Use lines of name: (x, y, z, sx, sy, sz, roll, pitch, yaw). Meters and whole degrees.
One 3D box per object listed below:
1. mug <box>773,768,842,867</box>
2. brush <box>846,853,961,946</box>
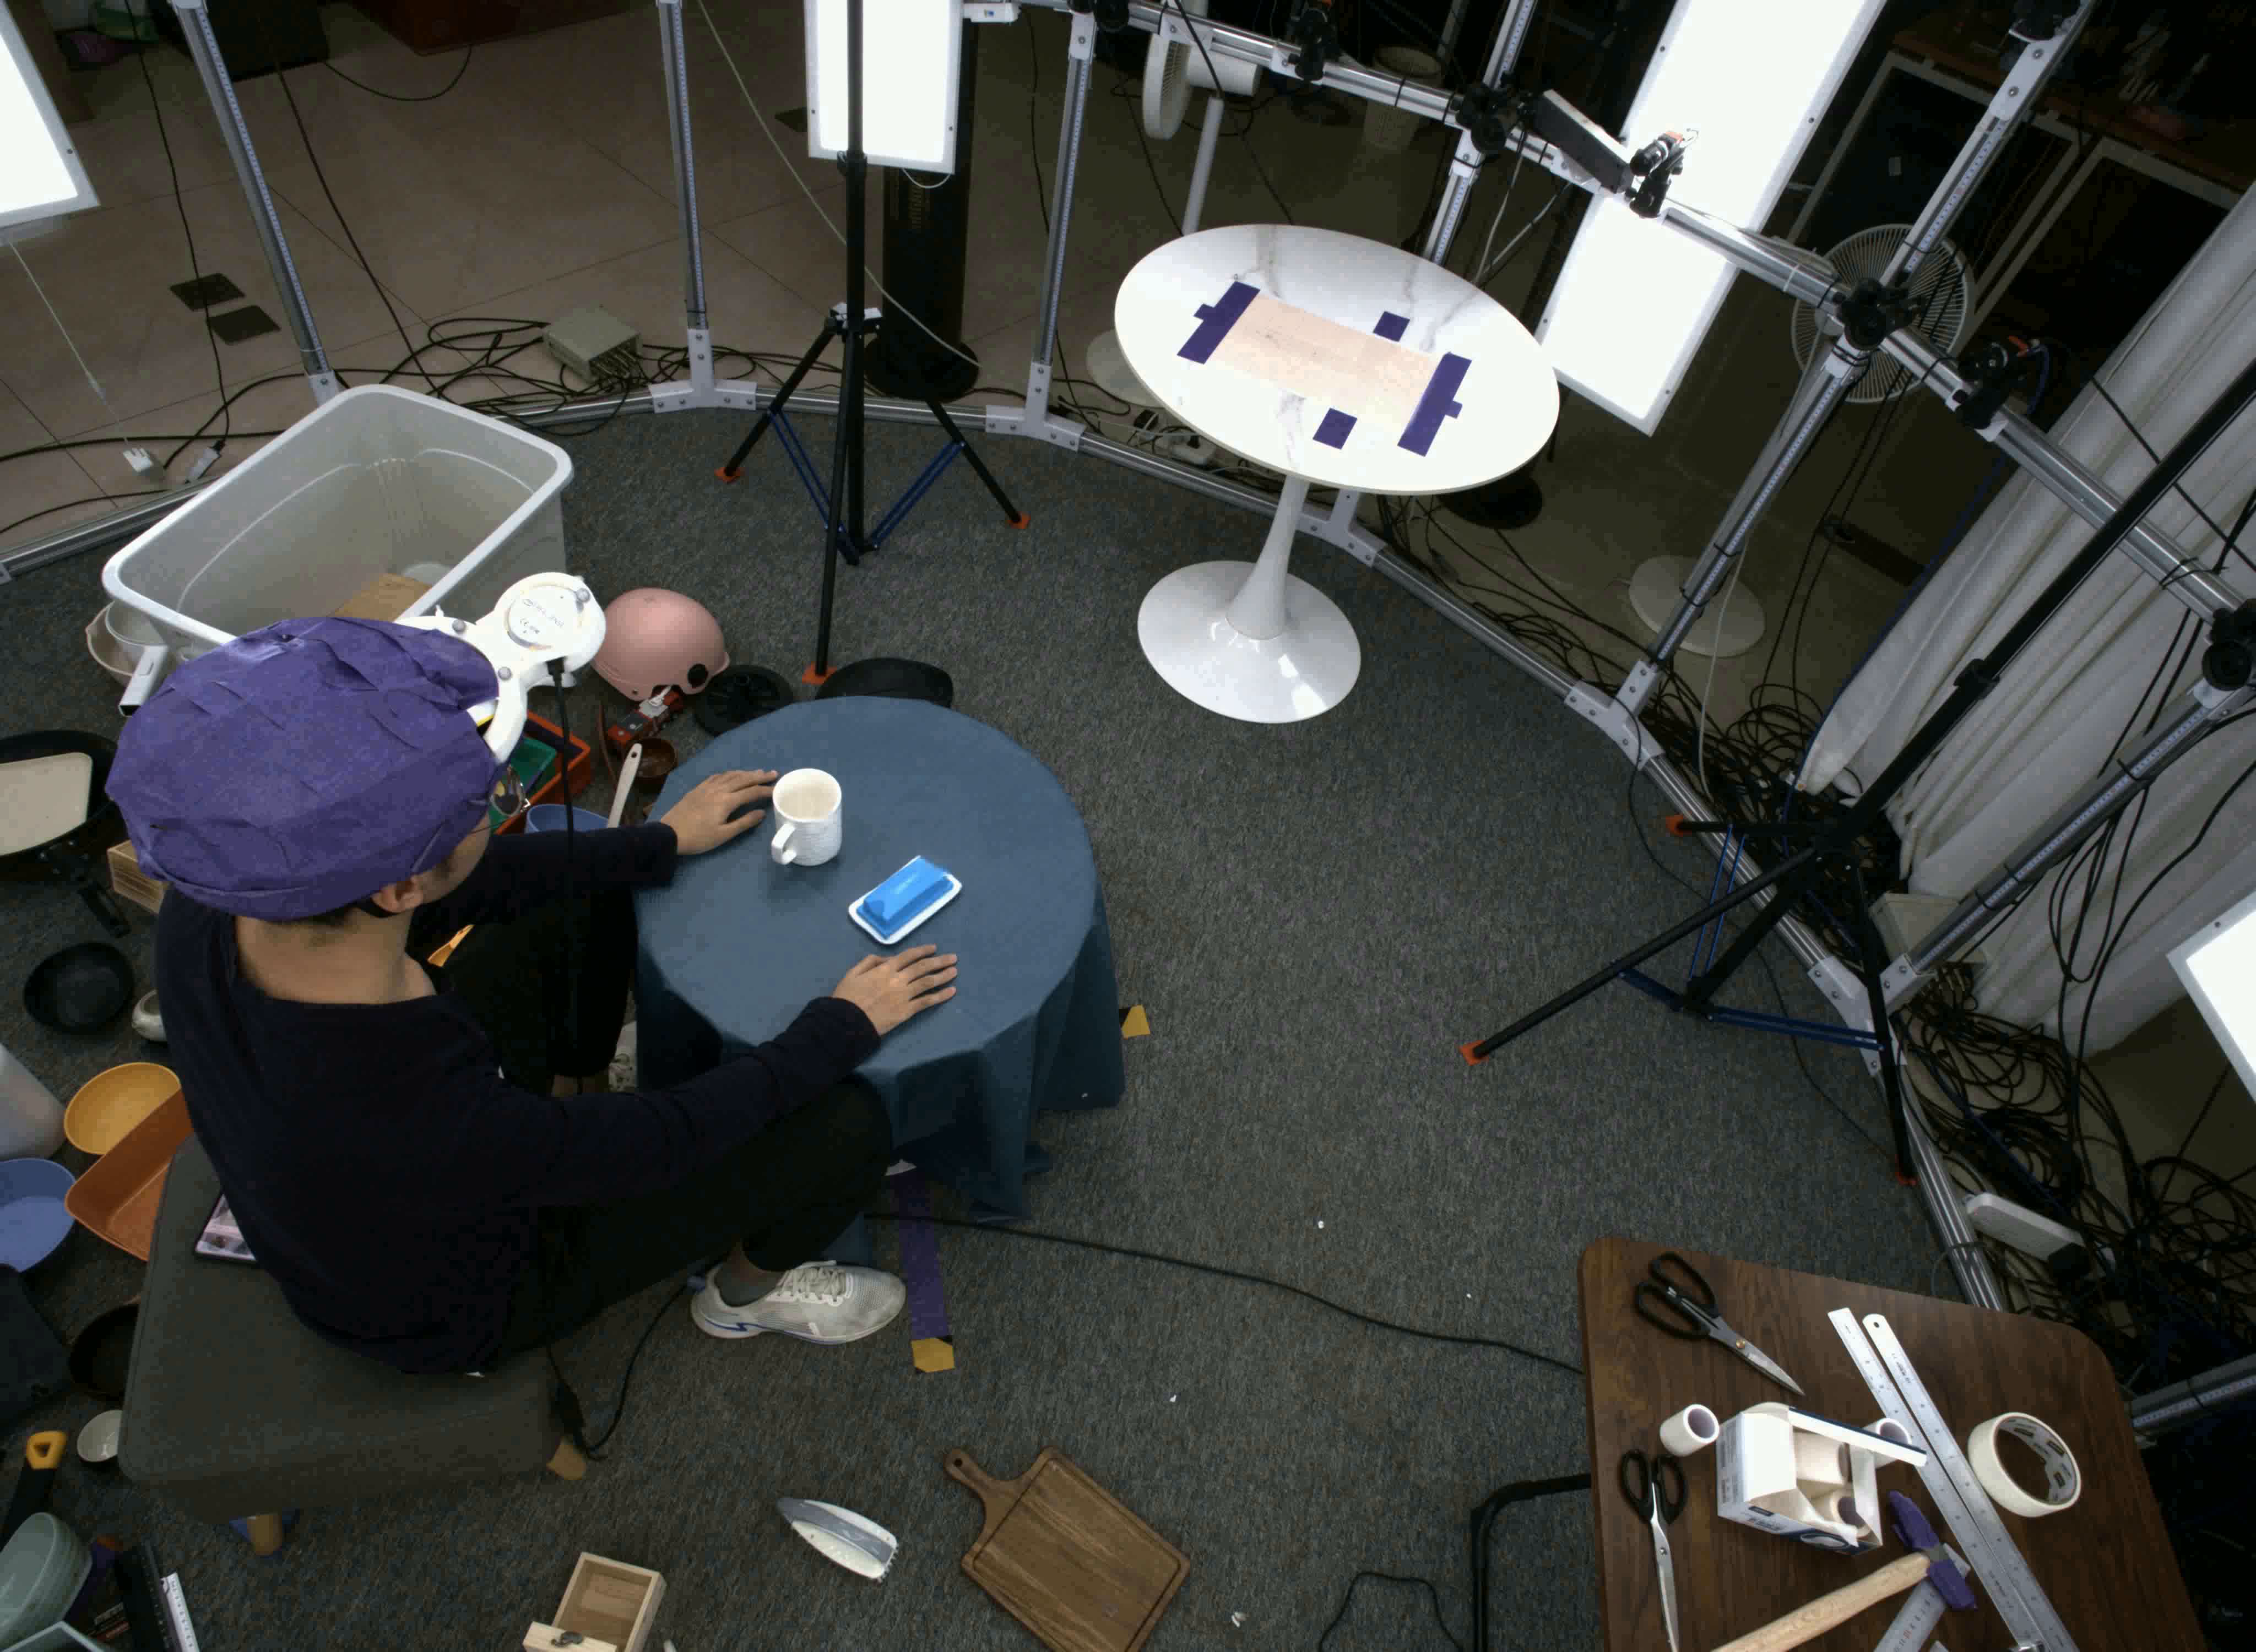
mug: (-0.417, 0.001, 1.661, 0.084, 0.104, 0.117, 23, 52, 5)
brush: (-0.286, 0.085, 1.658, 0.082, 0.057, 0.144, 39, 52, 20)
